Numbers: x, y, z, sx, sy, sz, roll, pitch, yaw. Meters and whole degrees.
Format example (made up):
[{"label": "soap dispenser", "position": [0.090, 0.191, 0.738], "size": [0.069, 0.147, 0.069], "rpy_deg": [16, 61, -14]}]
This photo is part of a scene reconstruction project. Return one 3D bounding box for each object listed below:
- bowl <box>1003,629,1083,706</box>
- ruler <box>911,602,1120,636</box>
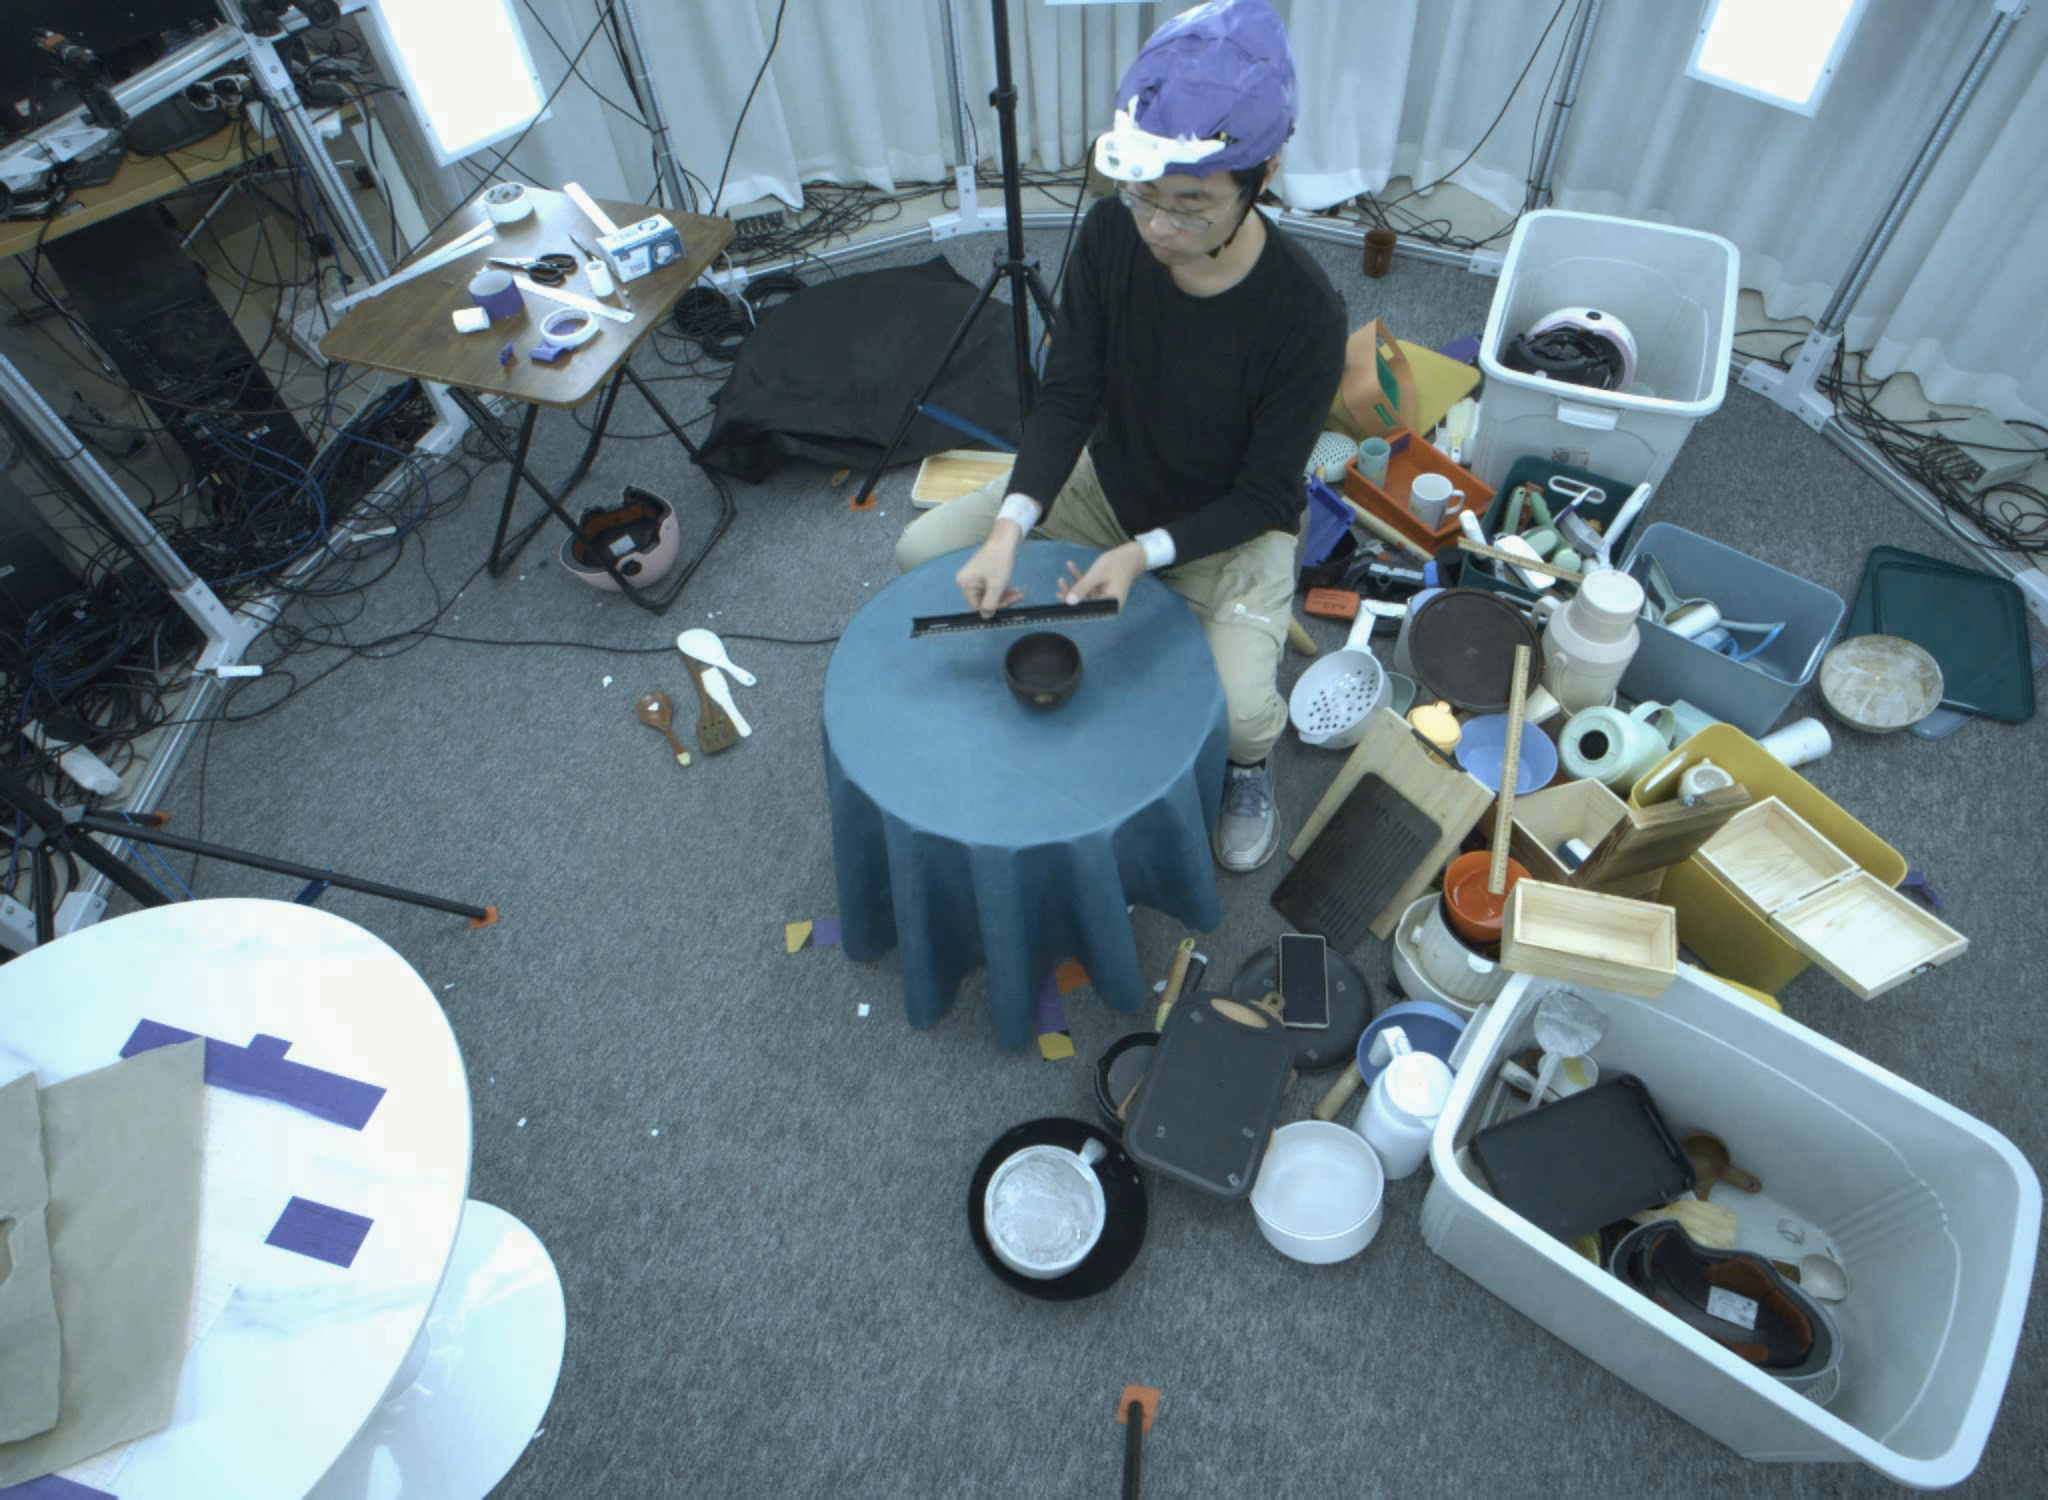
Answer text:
[{"label": "bowl", "position": [0.029, -0.114, 1.822], "size": [0.118, 0.070, 0.117], "rpy_deg": [-1, 56, 2]}, {"label": "ruler", "position": [-0.016, -0.192, 1.794], "size": [0.310, 0.017, 0.039], "rpy_deg": [-3, 46, 11]}]
